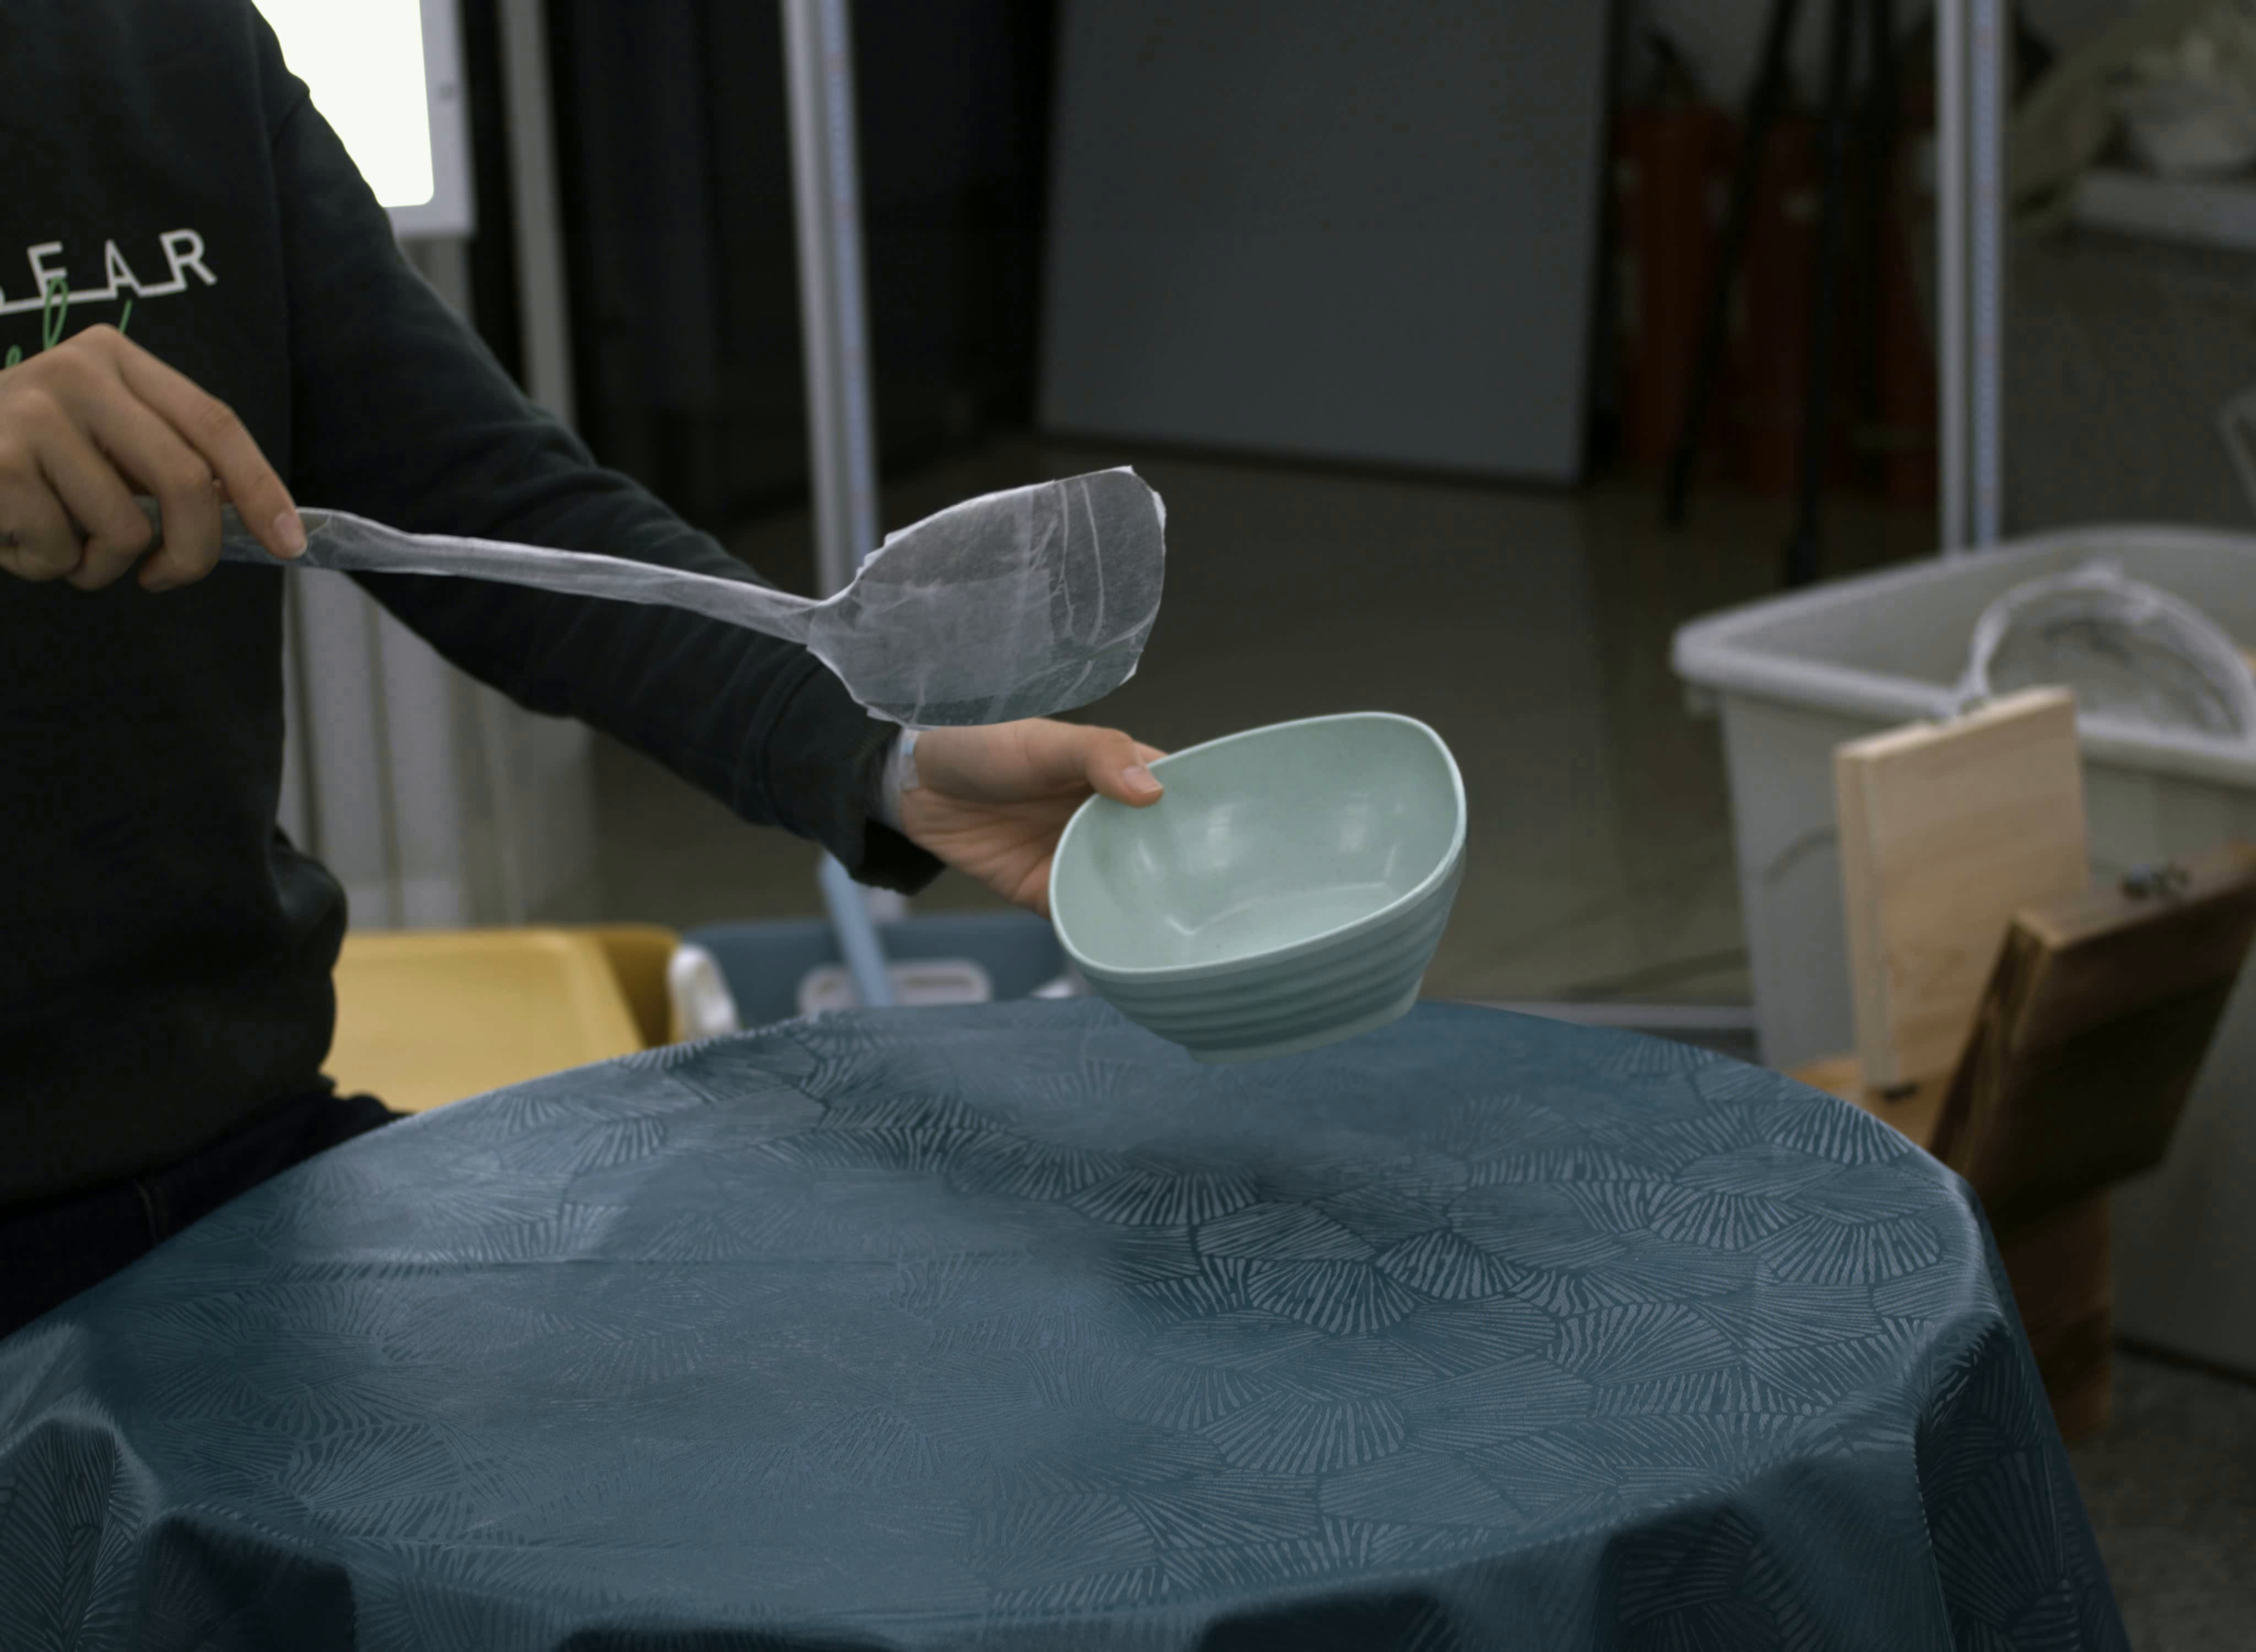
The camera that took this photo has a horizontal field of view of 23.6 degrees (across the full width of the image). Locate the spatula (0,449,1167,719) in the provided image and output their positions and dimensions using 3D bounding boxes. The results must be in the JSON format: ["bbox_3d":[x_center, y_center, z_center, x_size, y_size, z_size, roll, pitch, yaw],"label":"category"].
[{"bbox_3d":[-0.168,-0.078,1.591,0.360,0.099,0.045,5,46,0],"label":"spatula"}]

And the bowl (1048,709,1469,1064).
[{"bbox_3d":[0.047,0.027,1.736,0.150,0.059,0.152,-13,32,7],"label":"bowl"}]
